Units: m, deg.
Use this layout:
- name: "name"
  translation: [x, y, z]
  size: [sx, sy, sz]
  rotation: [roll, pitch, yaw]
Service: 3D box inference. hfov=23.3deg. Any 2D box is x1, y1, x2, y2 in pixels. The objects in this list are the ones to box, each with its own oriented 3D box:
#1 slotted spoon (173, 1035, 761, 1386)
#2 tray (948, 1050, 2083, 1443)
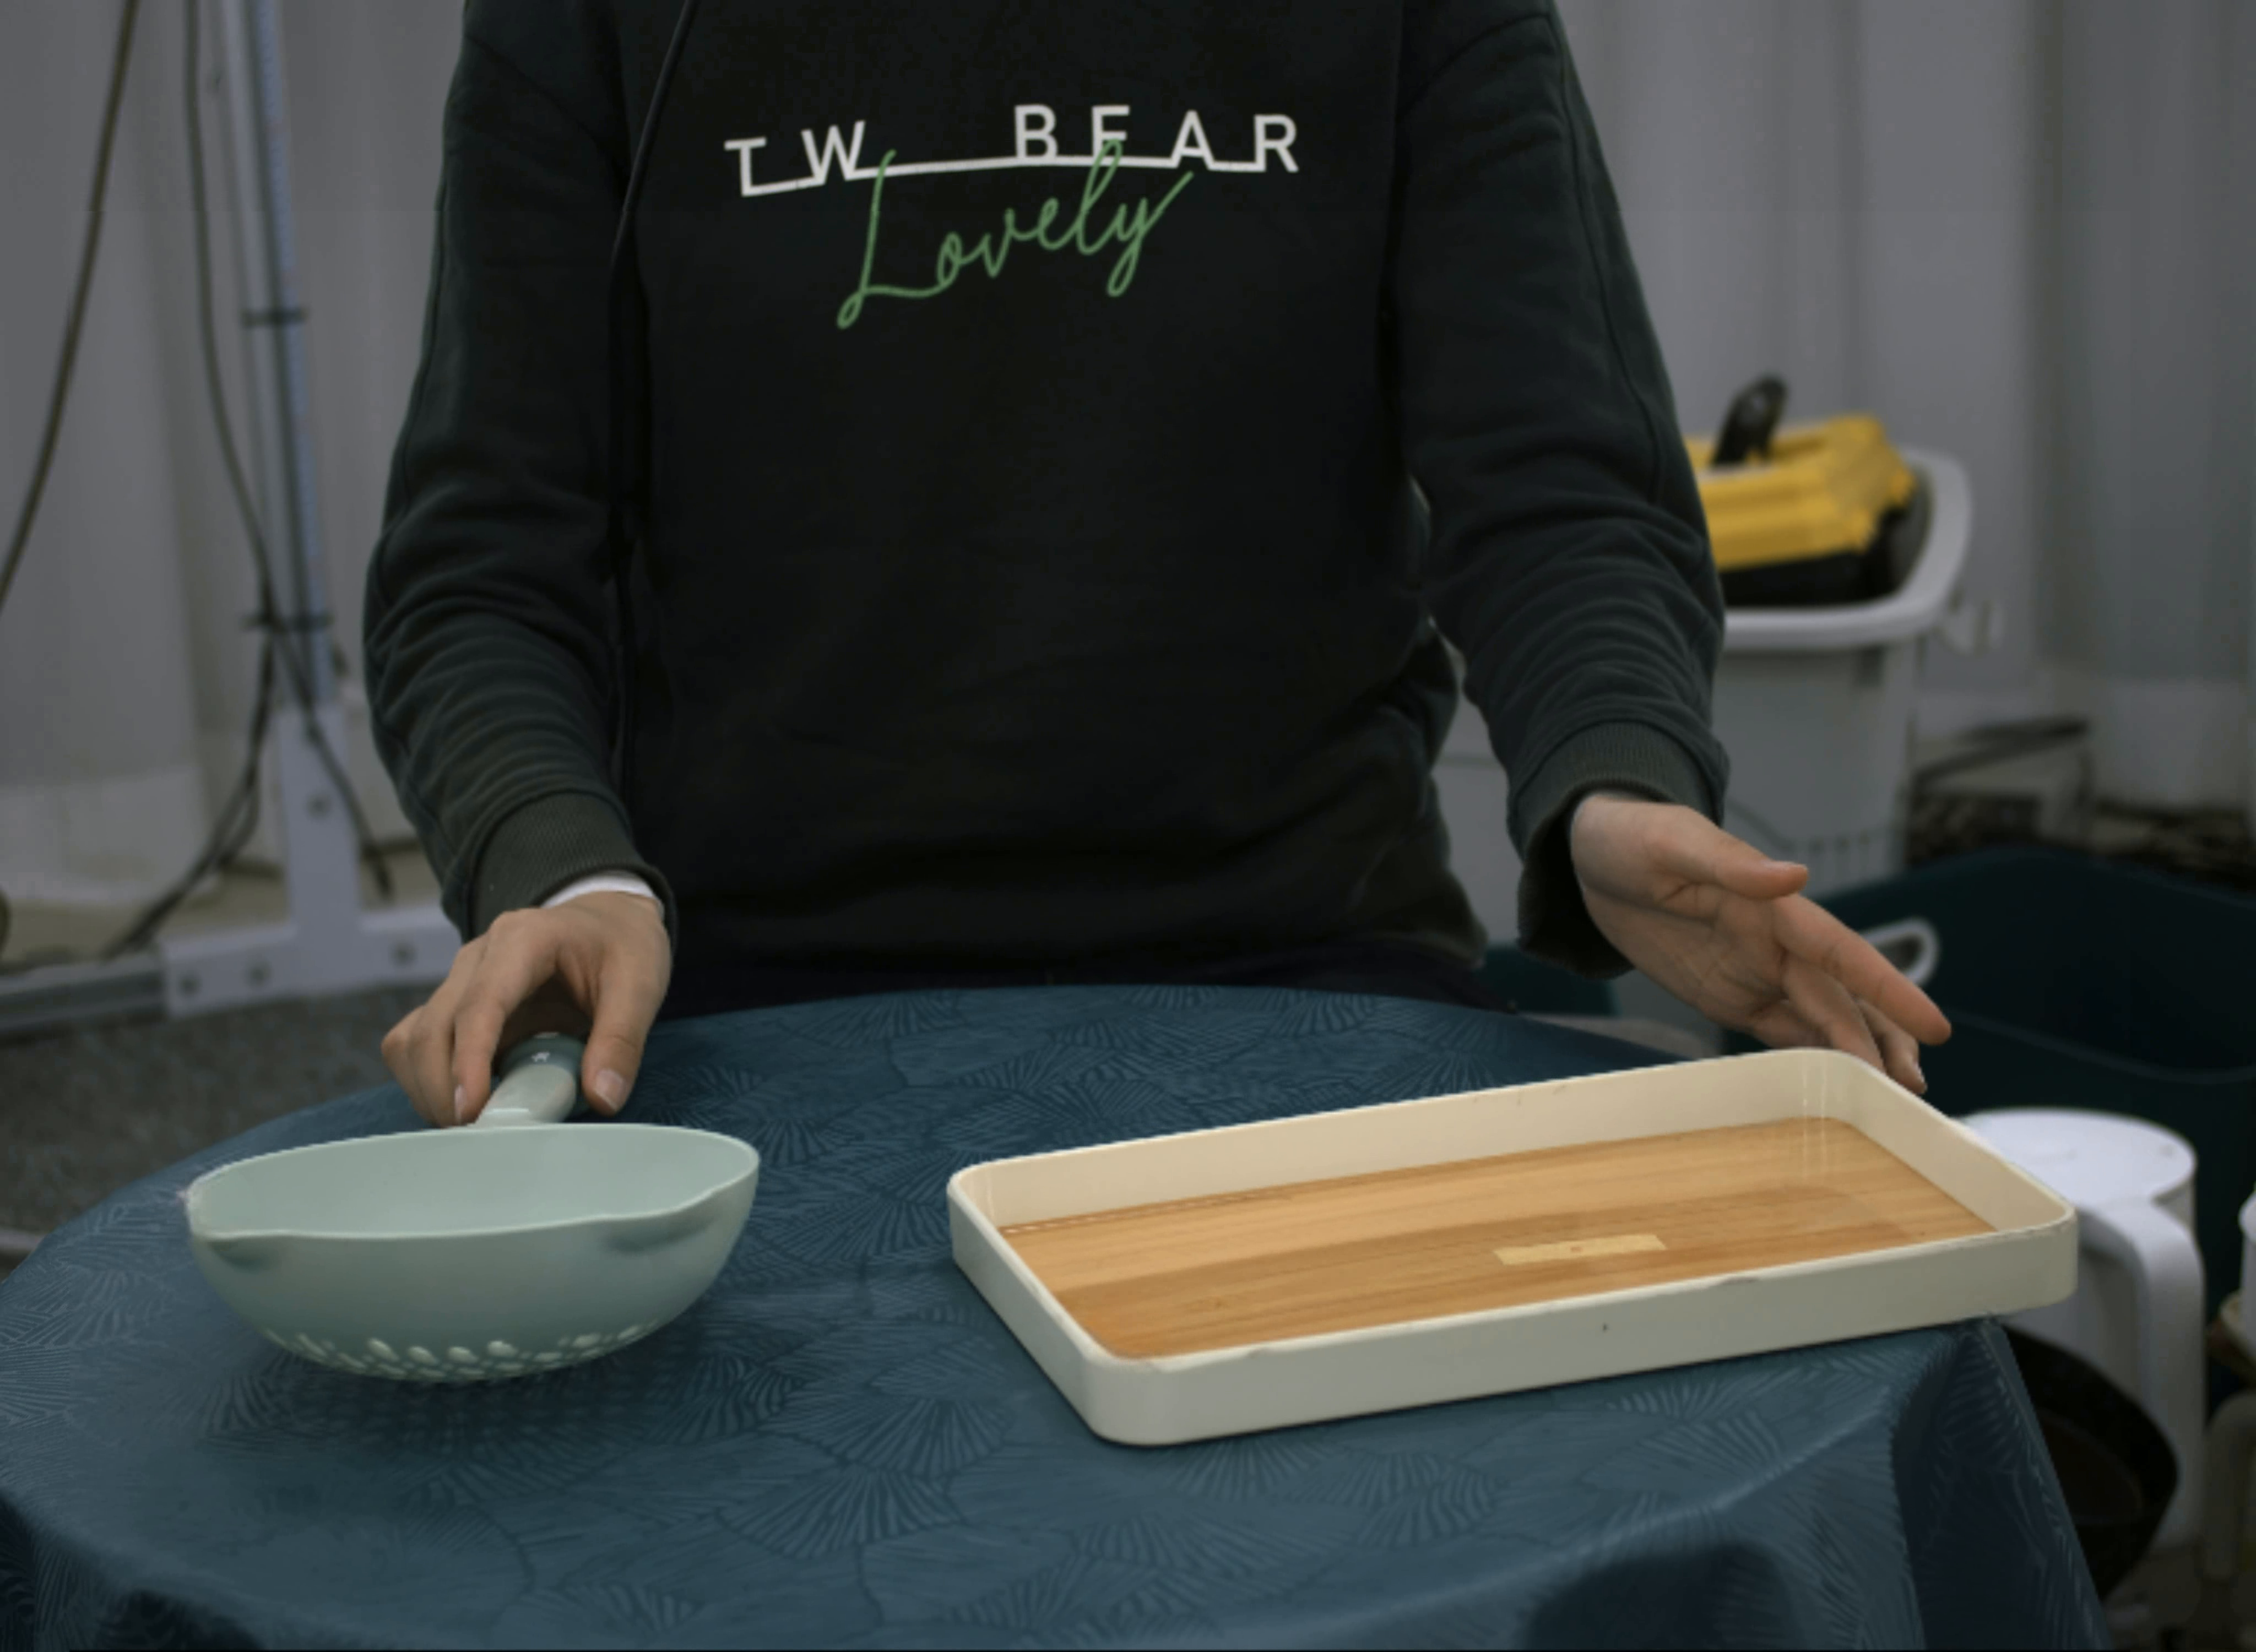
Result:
- name: "slotted spoon"
  translation: [-0.190, 0.102, 1.676]
  size: [0.169, 0.075, 0.361]
  rotation: [-2, 15, 0]
- name: "tray"
  translation: [0.111, 0.121, 1.618]
  size: [0.299, 0.027, 0.193]
  rotation: [-6, 16, -15]
